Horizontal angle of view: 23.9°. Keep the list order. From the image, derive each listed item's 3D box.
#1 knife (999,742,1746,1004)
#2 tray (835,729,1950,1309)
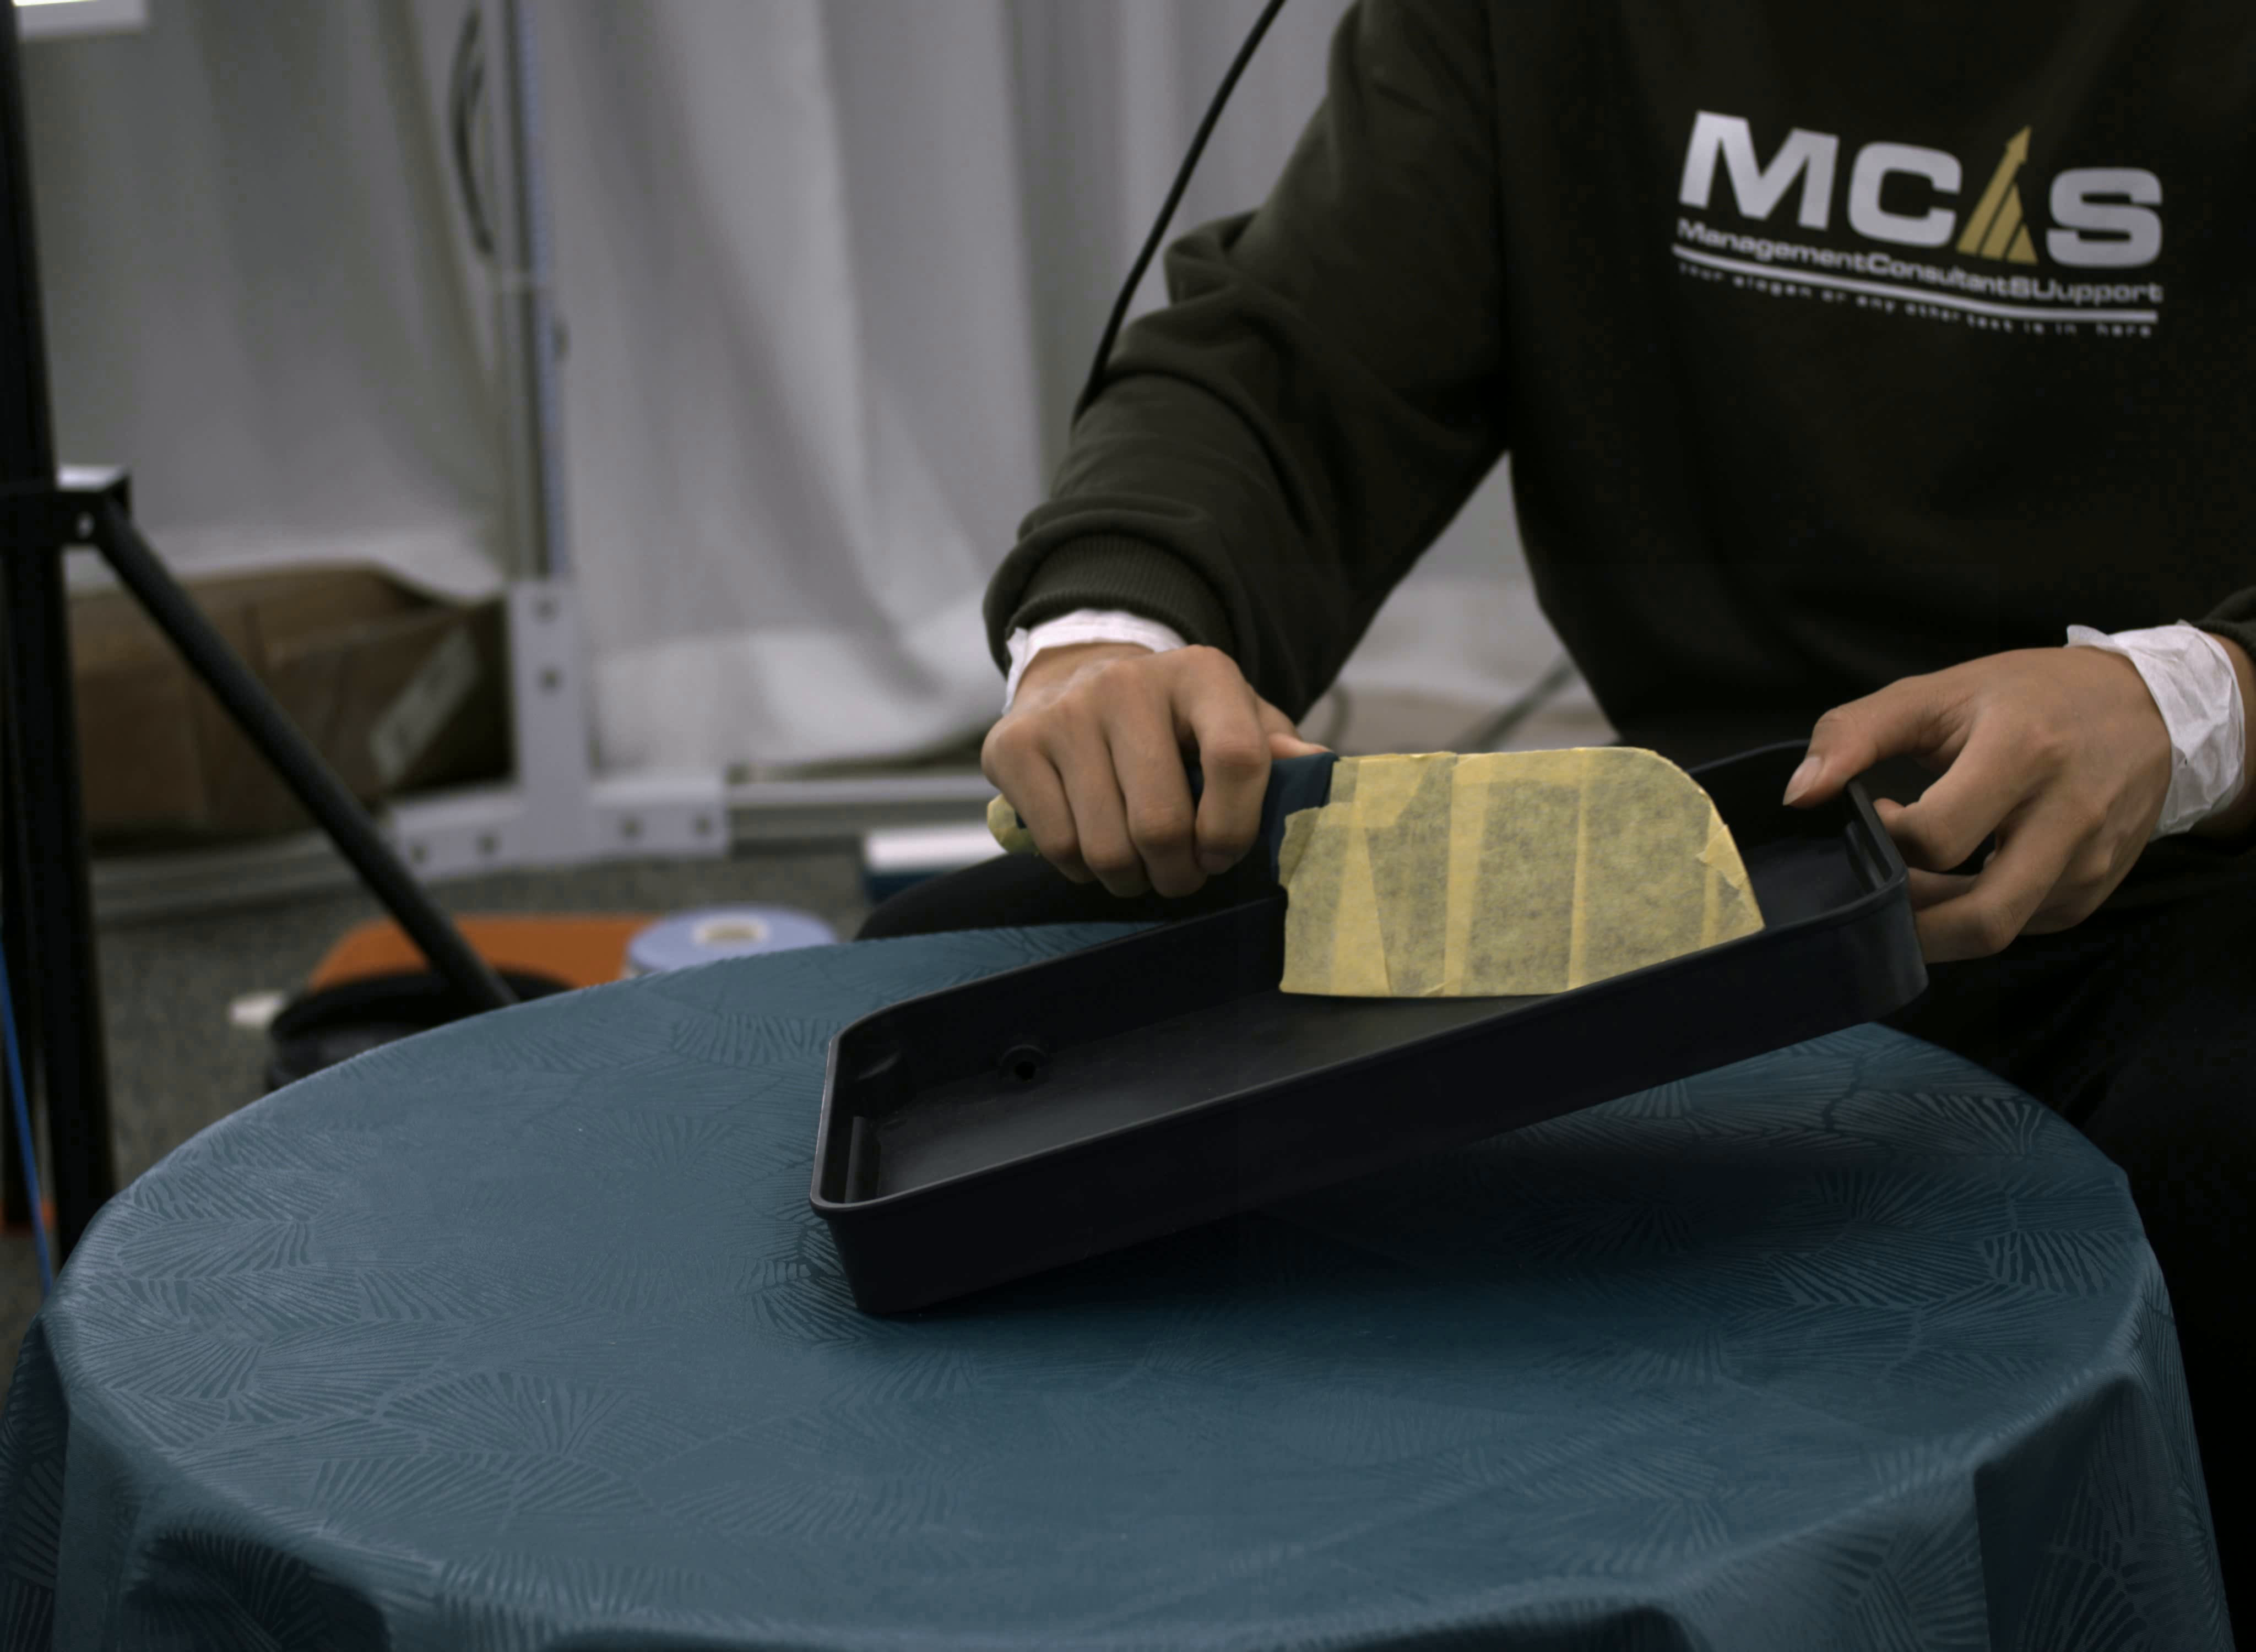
[{"bbox_3d":[0.068,0.014,1.591,0.296,0.081,0.026,1,-11,44],"label":"knife"},{"bbox_3d":[0.072,0.053,1.531,0.317,0.037,0.185,-18,14,4],"label":"tray"}]
